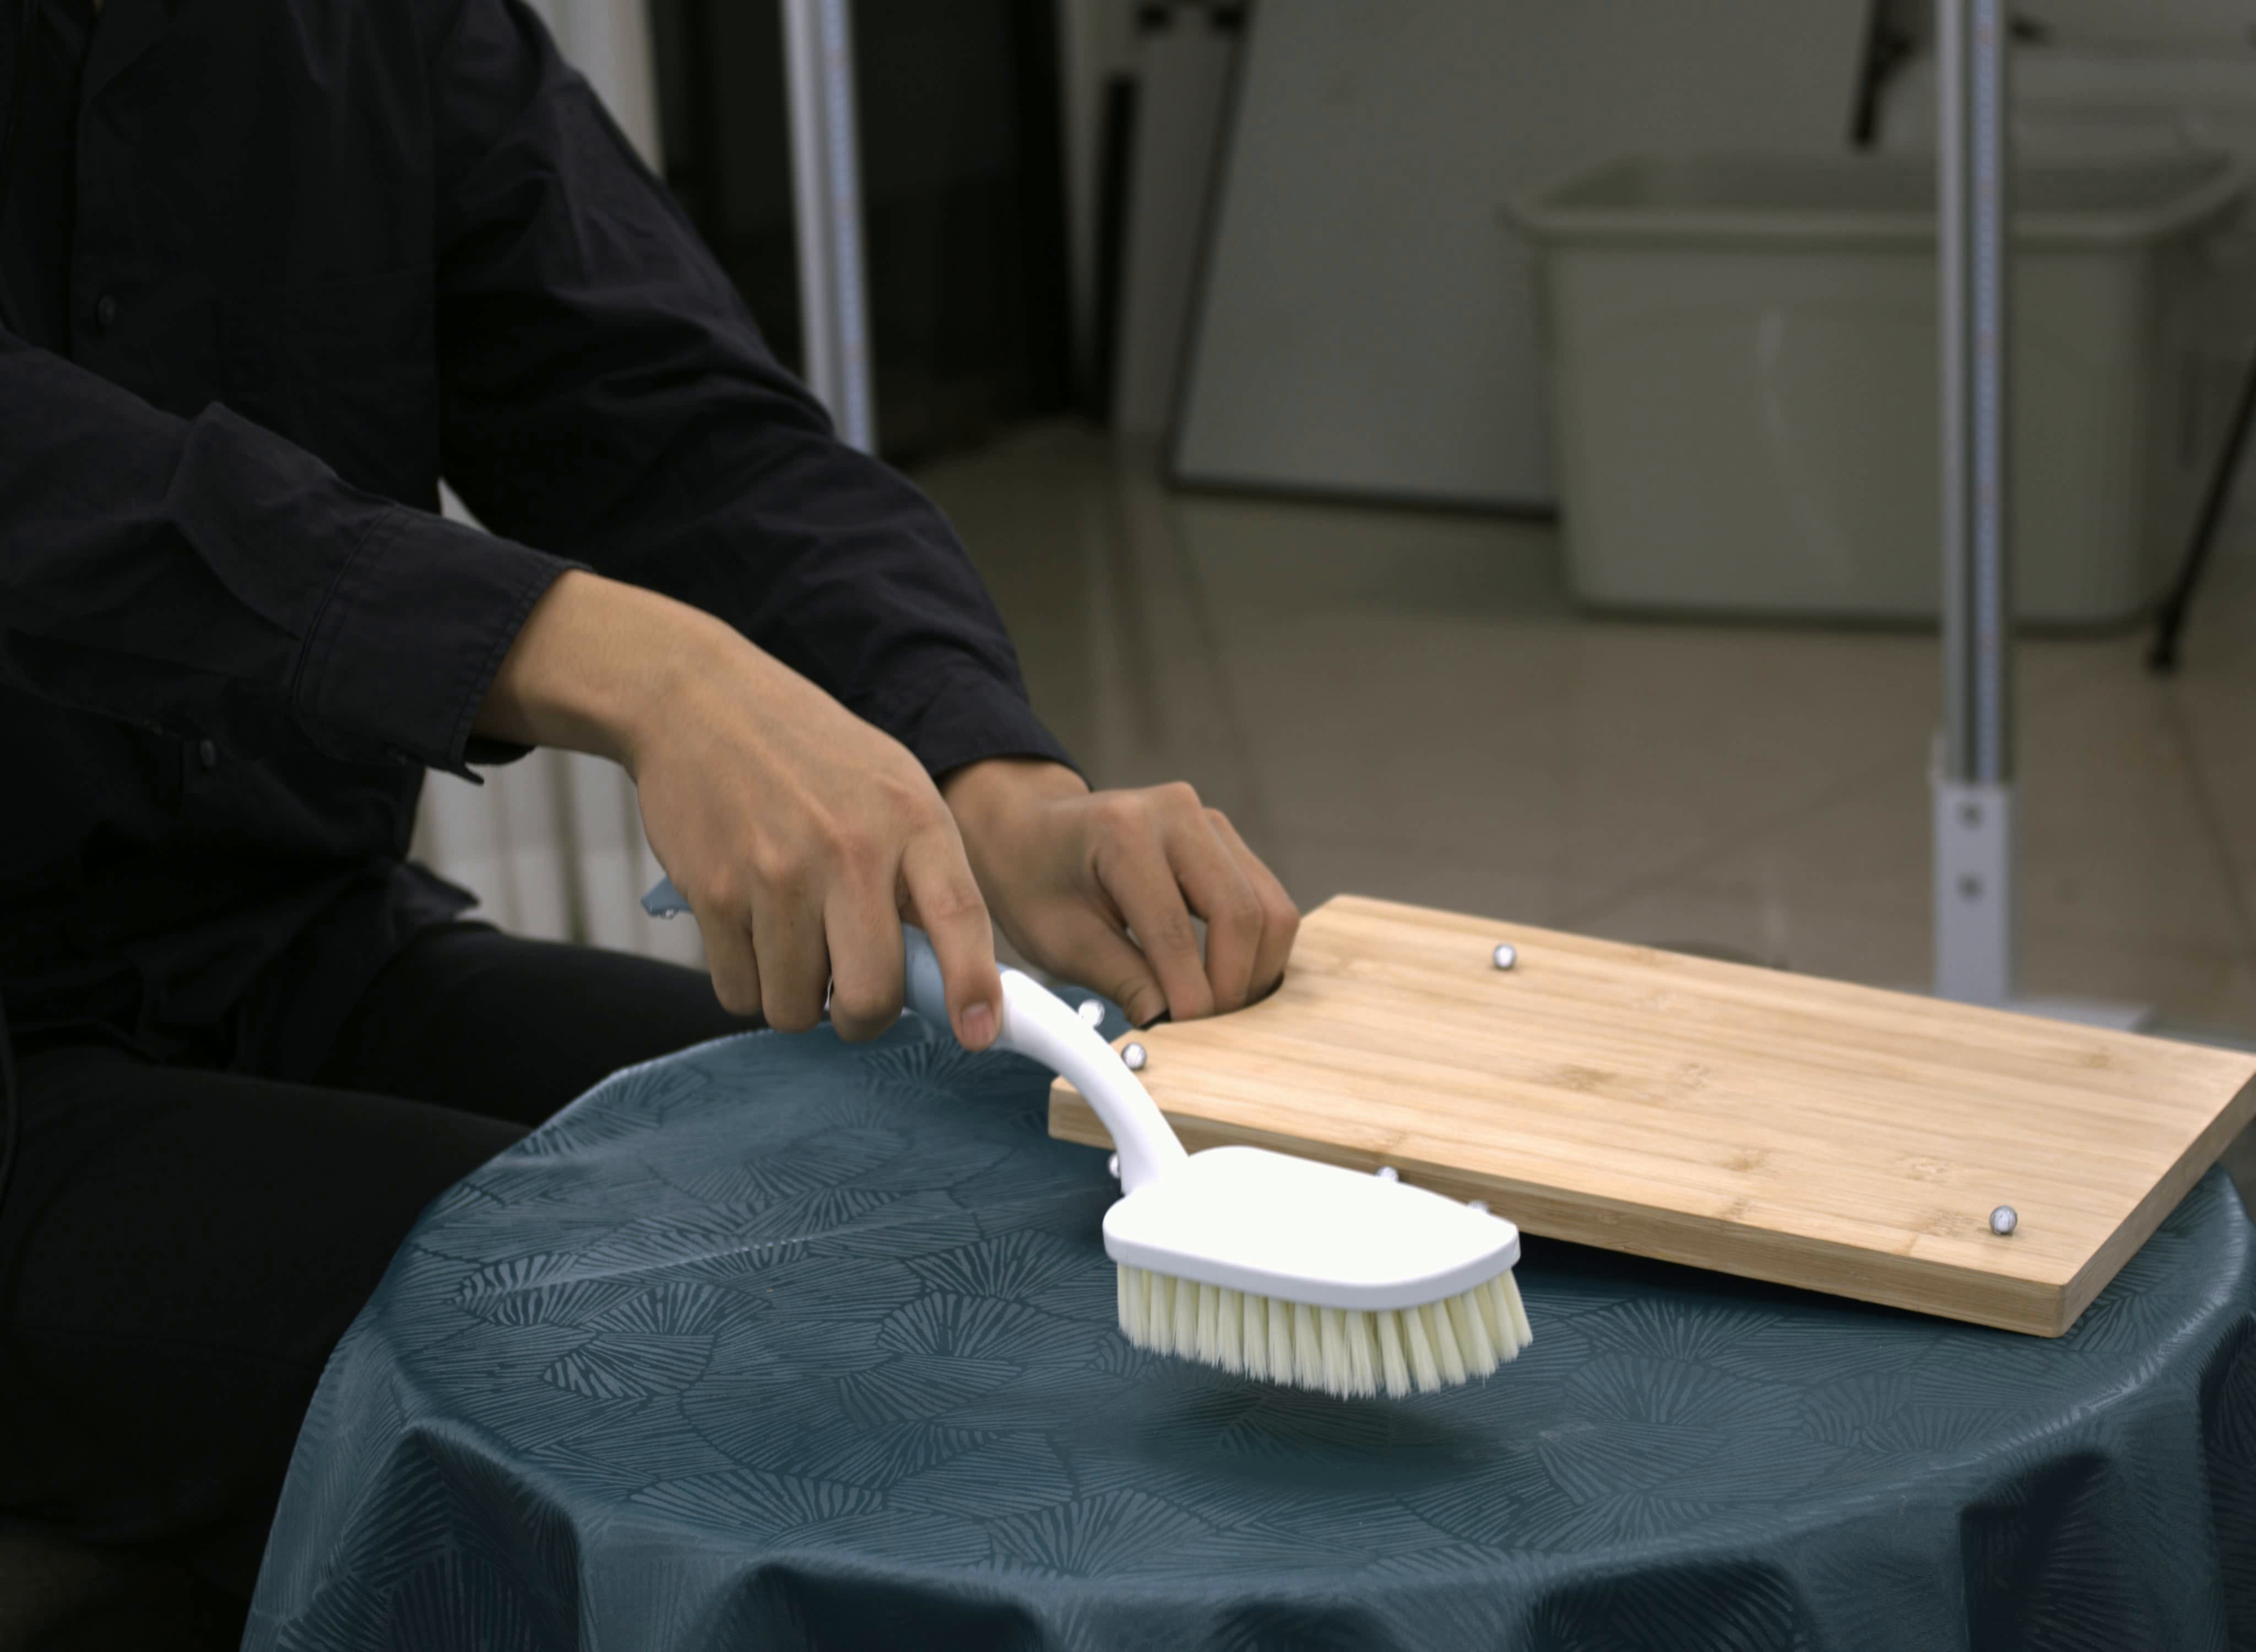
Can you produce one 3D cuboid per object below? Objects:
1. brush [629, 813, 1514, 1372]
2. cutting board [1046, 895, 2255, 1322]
[{"bbox_3d":[-0.022,0.090,1.601,0.327,0.085,0.082,23,-4,32],"label":"brush"},{"bbox_3d":[0.176,0.087,1.760,0.349,0.024,0.247,9,17,24],"label":"cutting board"}]
